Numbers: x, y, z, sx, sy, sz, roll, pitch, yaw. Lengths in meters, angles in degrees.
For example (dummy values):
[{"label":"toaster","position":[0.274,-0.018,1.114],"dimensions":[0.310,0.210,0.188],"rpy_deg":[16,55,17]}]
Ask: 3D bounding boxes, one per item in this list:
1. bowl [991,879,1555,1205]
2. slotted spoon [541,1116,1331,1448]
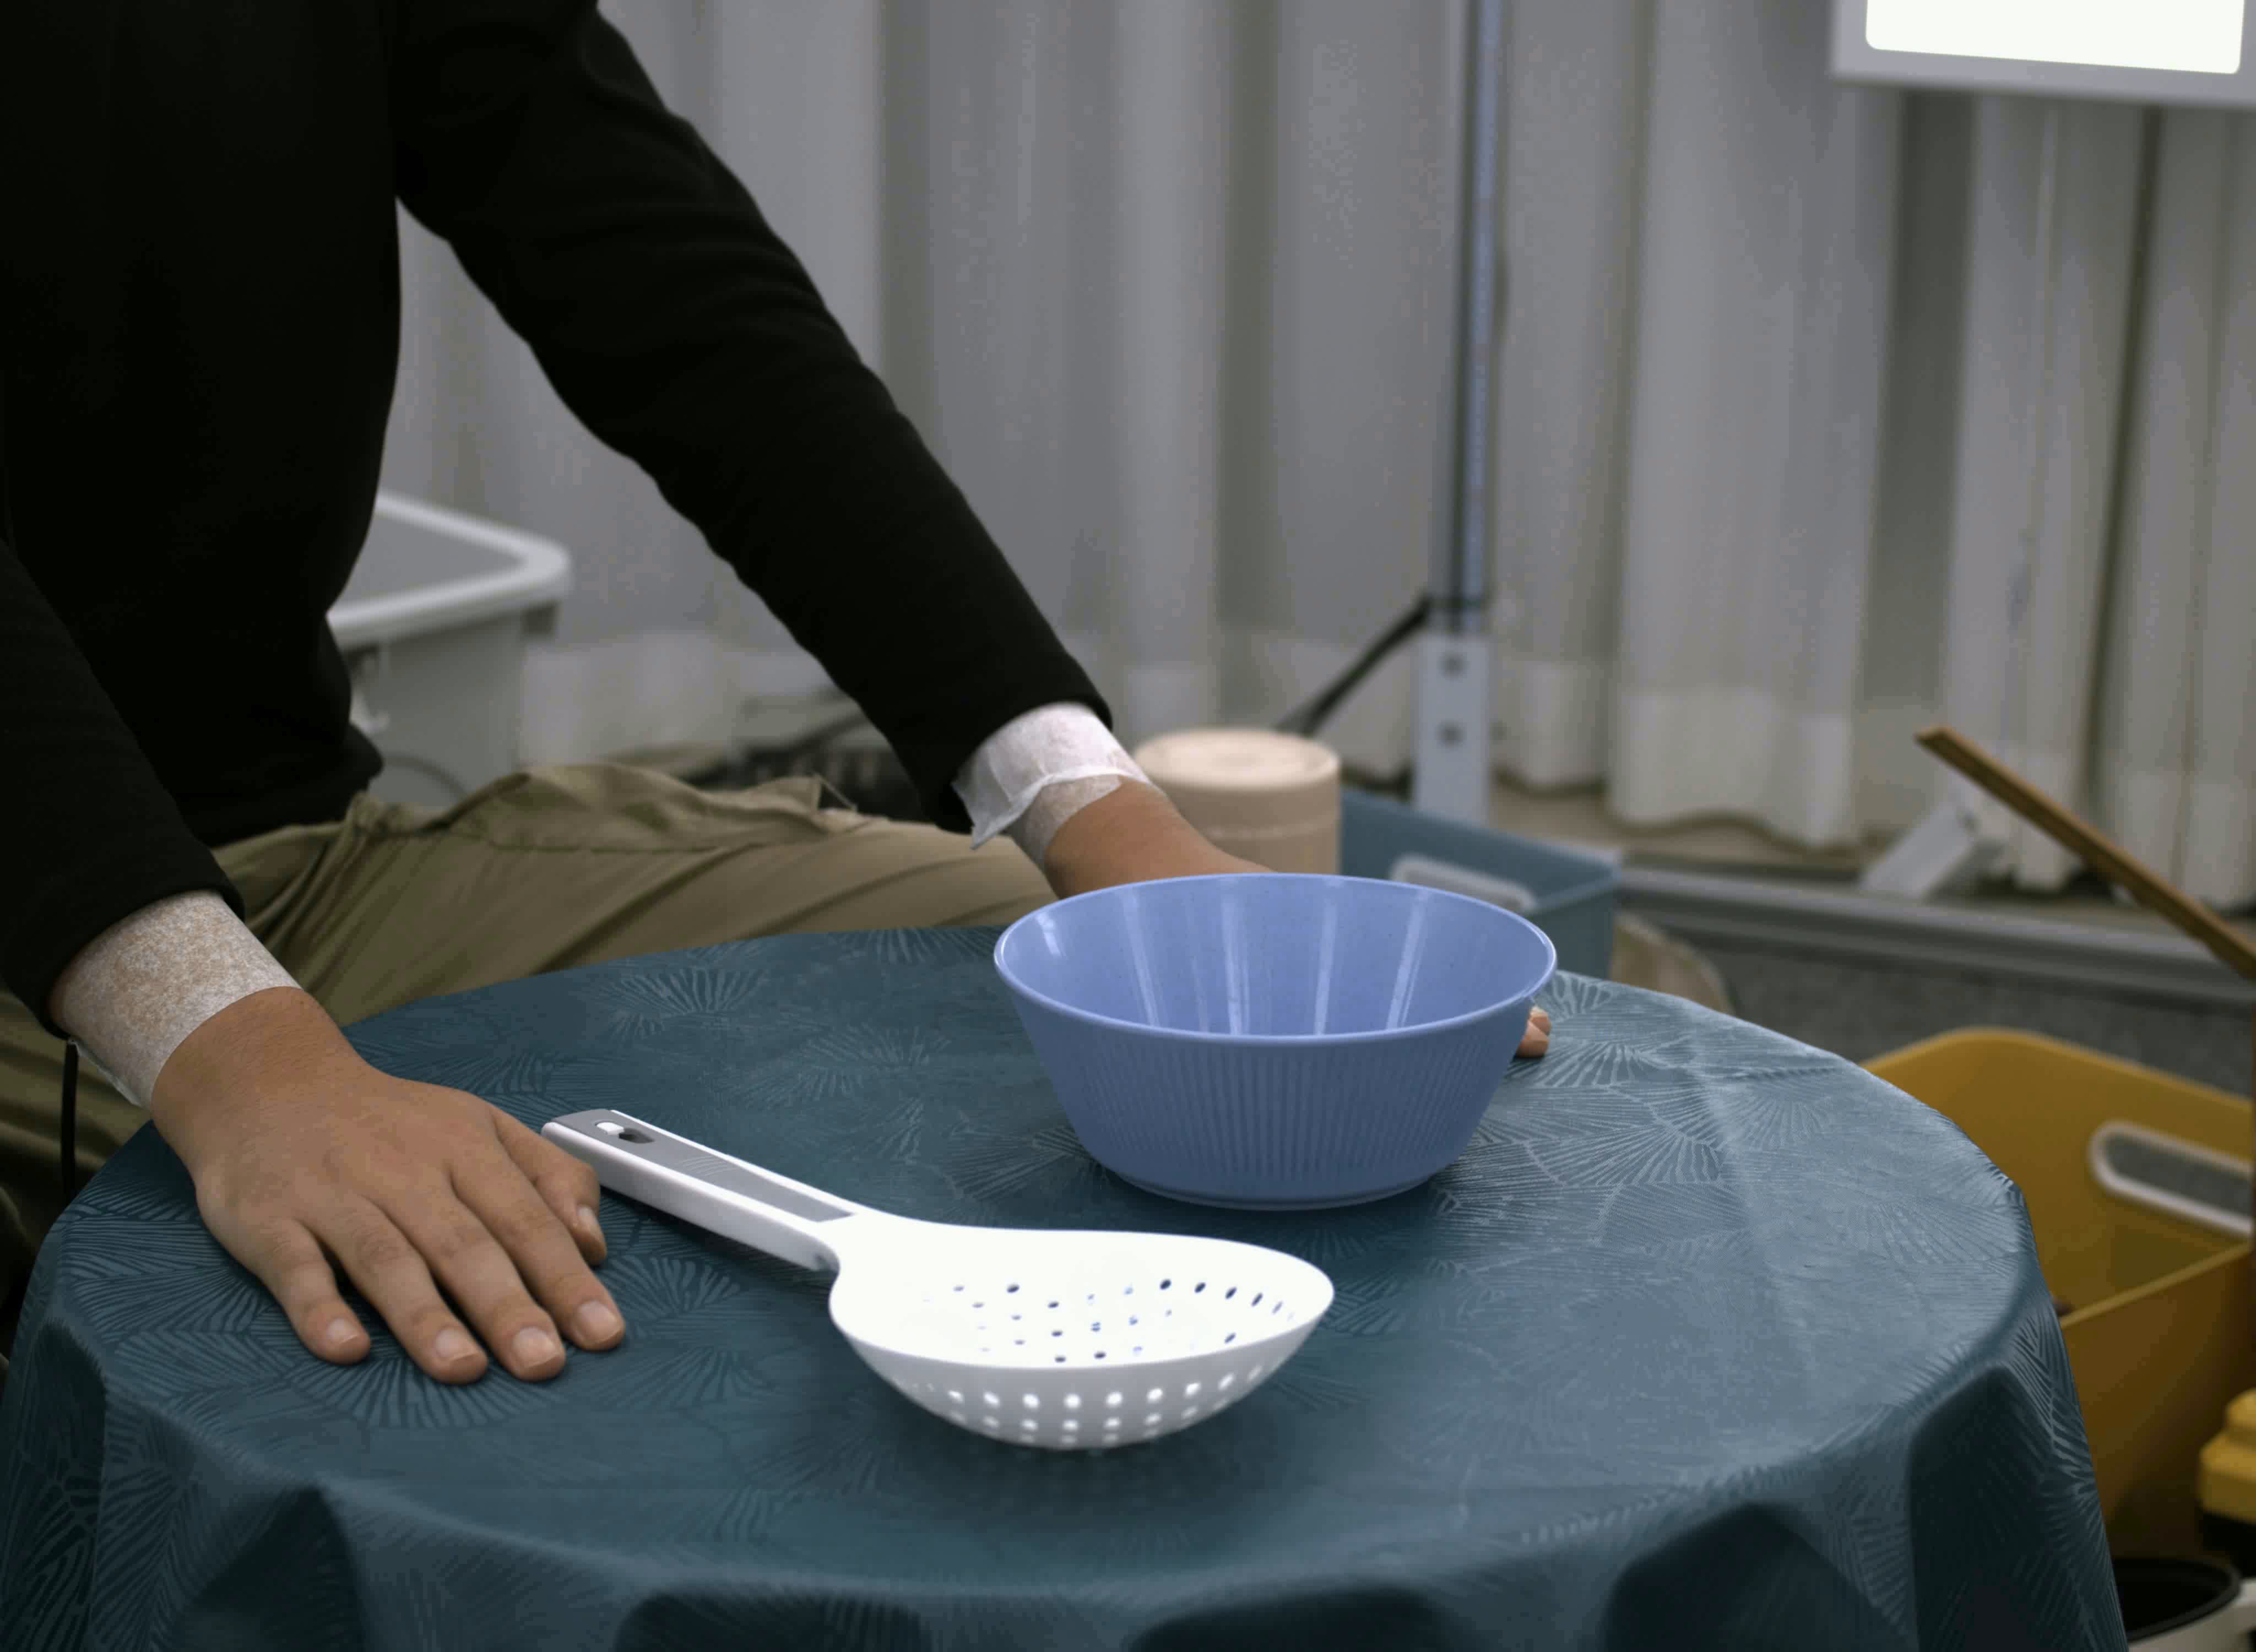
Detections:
[{"label":"bowl","position":[0.045,0.069,1.646],"dimensions":[0.175,0.071,0.175],"rpy_deg":[0,15,1]},{"label":"slotted spoon","position":[-0.074,0.120,1.504],"dimensions":[0.137,0.046,0.345],"rpy_deg":[-10,18,-34]}]
